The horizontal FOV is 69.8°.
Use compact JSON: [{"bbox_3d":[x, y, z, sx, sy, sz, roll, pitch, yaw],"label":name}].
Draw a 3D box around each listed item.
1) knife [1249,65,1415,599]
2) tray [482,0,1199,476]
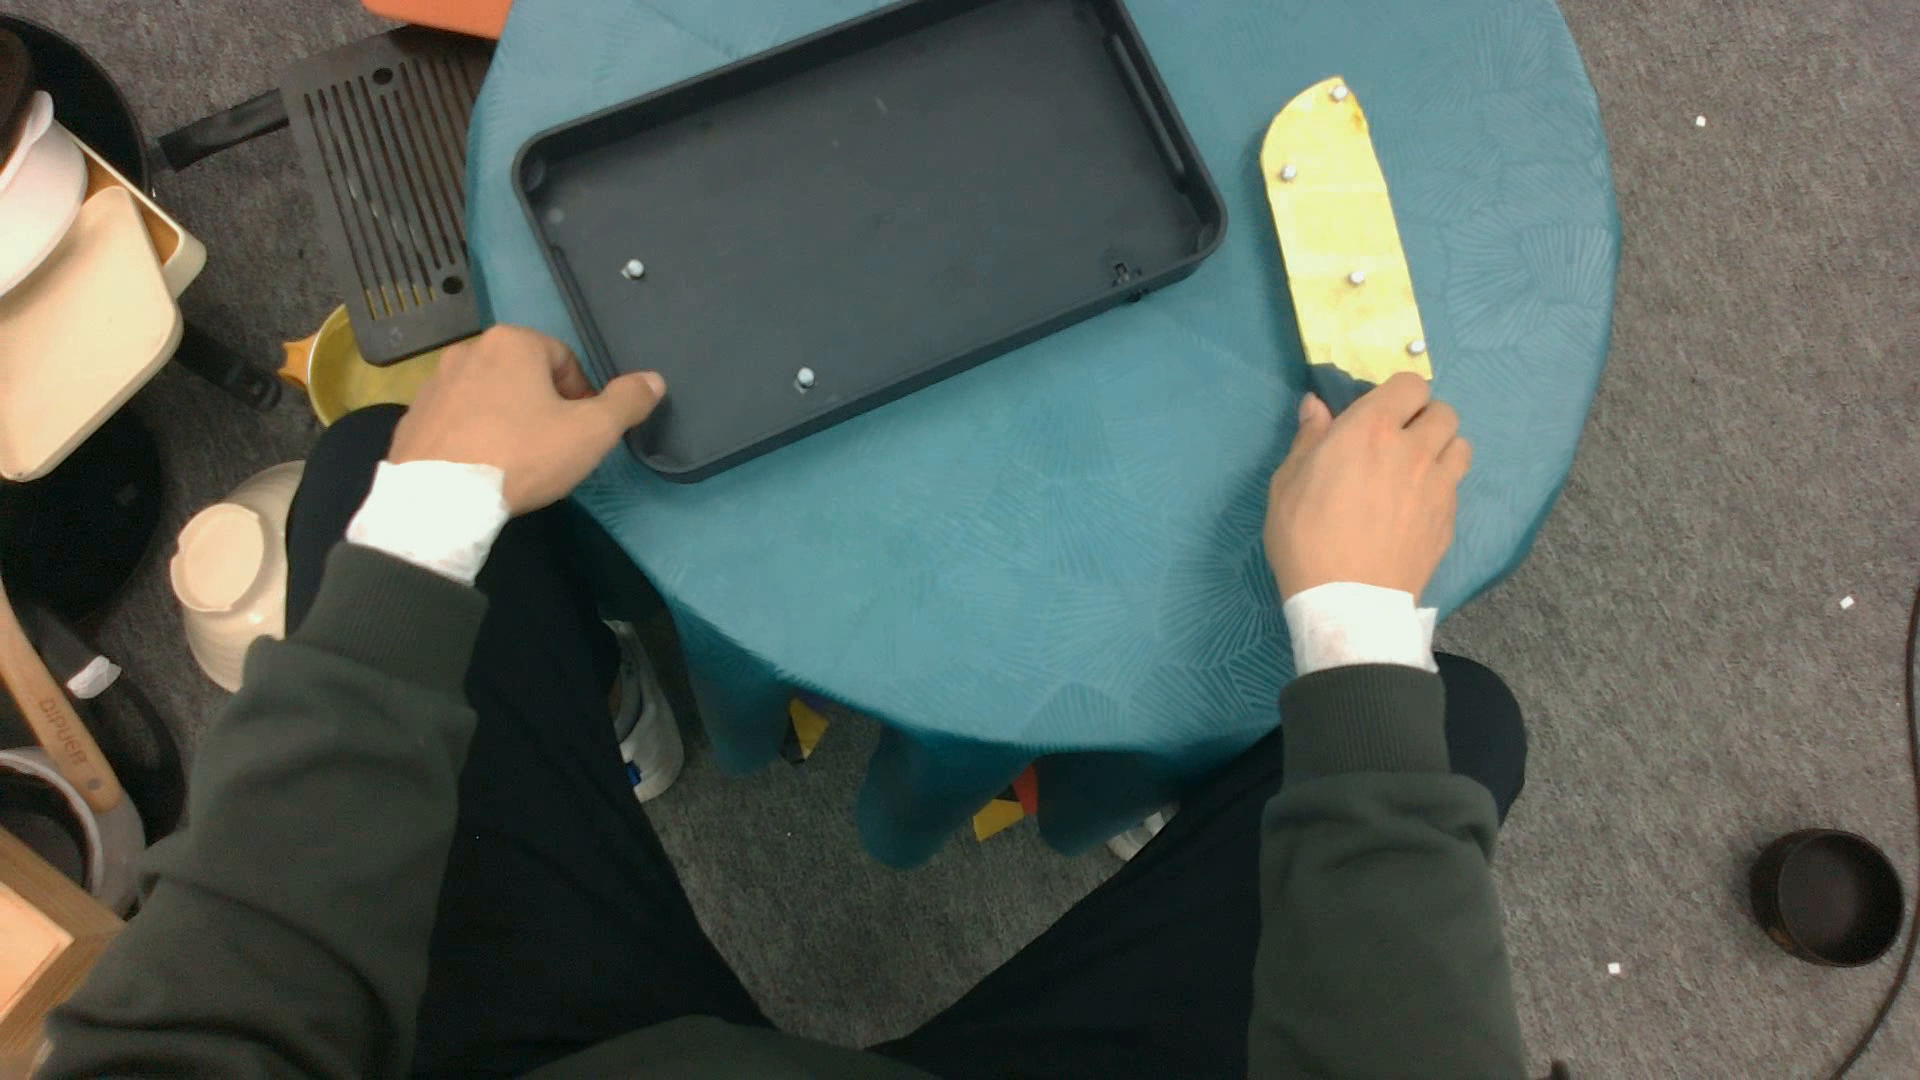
[{"bbox_3d":[0.199,-0.113,0.709,0.081,0.027,0.290,-3,79,-23],"label":"knife"},{"bbox_3d":[-0.055,-0.172,0.688,0.318,0.037,0.184,-26,84,-10],"label":"tray"}]
